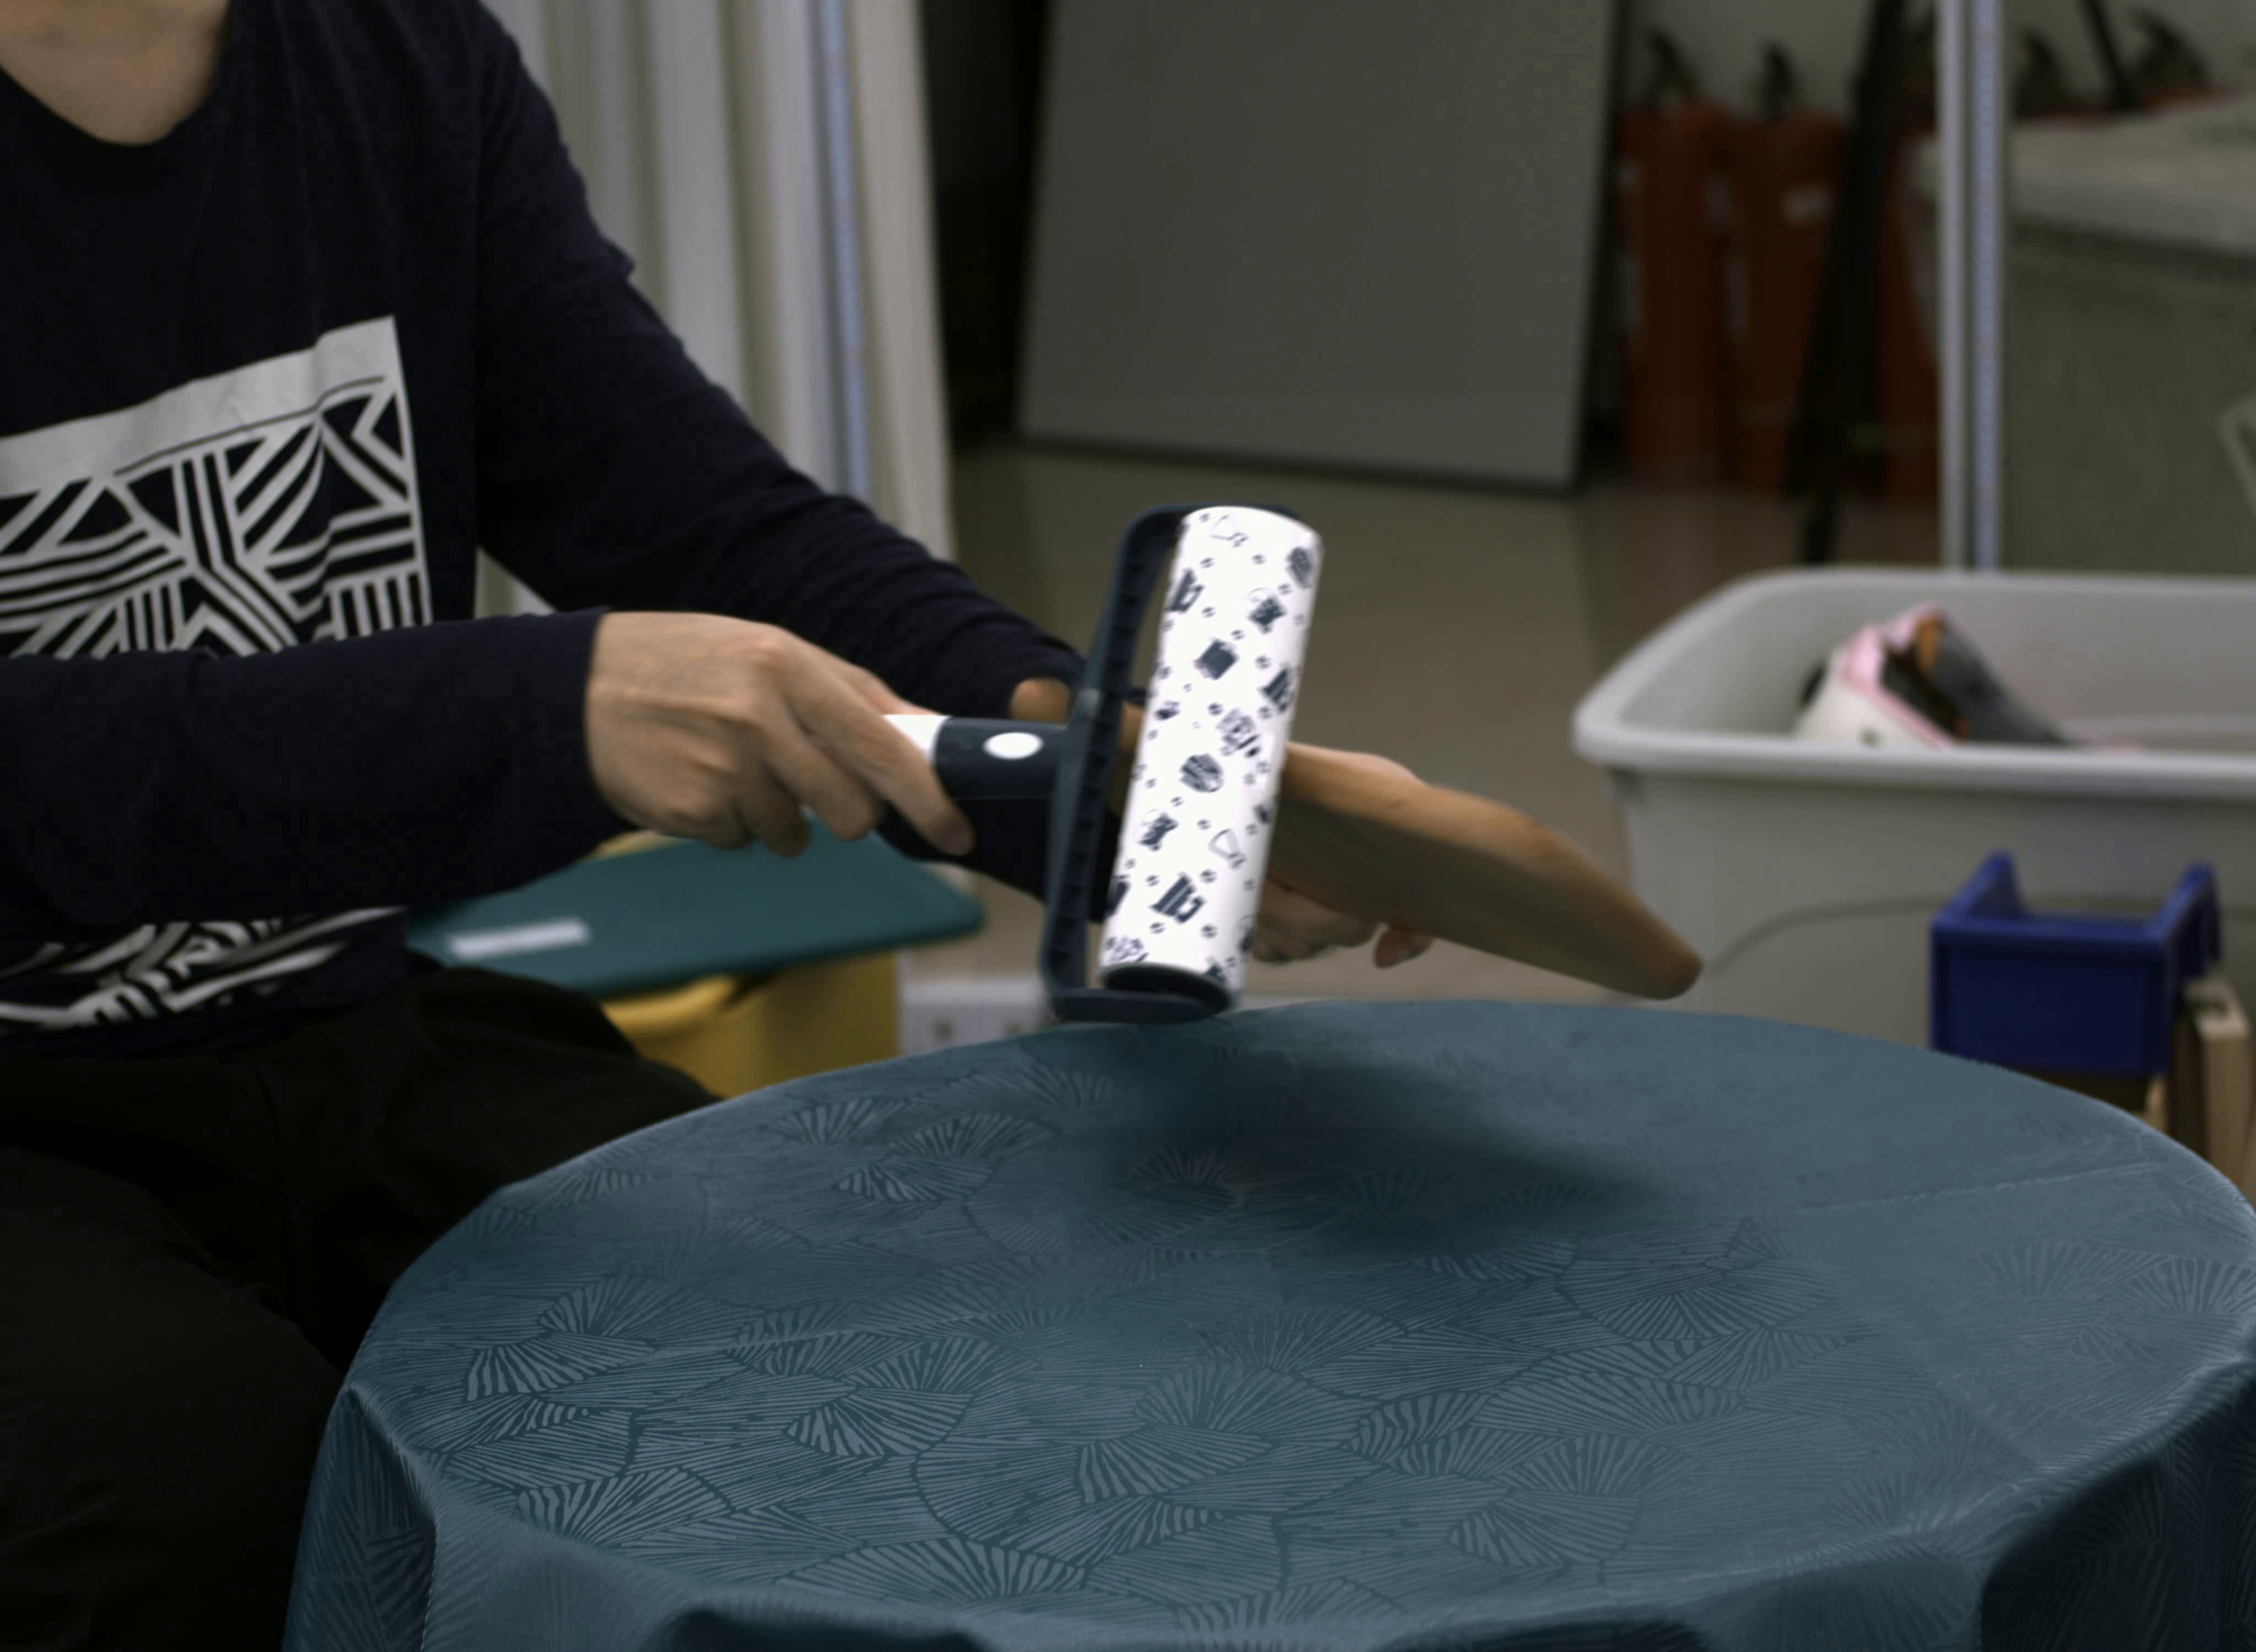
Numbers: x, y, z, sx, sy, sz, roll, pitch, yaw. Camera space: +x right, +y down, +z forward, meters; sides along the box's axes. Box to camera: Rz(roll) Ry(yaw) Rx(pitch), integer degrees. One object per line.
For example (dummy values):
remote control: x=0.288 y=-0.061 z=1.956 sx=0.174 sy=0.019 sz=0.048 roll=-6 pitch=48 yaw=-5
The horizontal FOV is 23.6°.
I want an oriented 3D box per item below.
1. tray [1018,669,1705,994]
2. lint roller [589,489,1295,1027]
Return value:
tray: x=0.073 y=0.002 z=1.782 sx=0.253 sy=0.023 sz=0.129 roll=13 pitch=-23 yaw=46
lint roller: x=-0.071 y=-0.021 z=1.759 sx=0.247 sy=0.178 sz=0.050 roll=-1 pitch=-23 yaw=25
